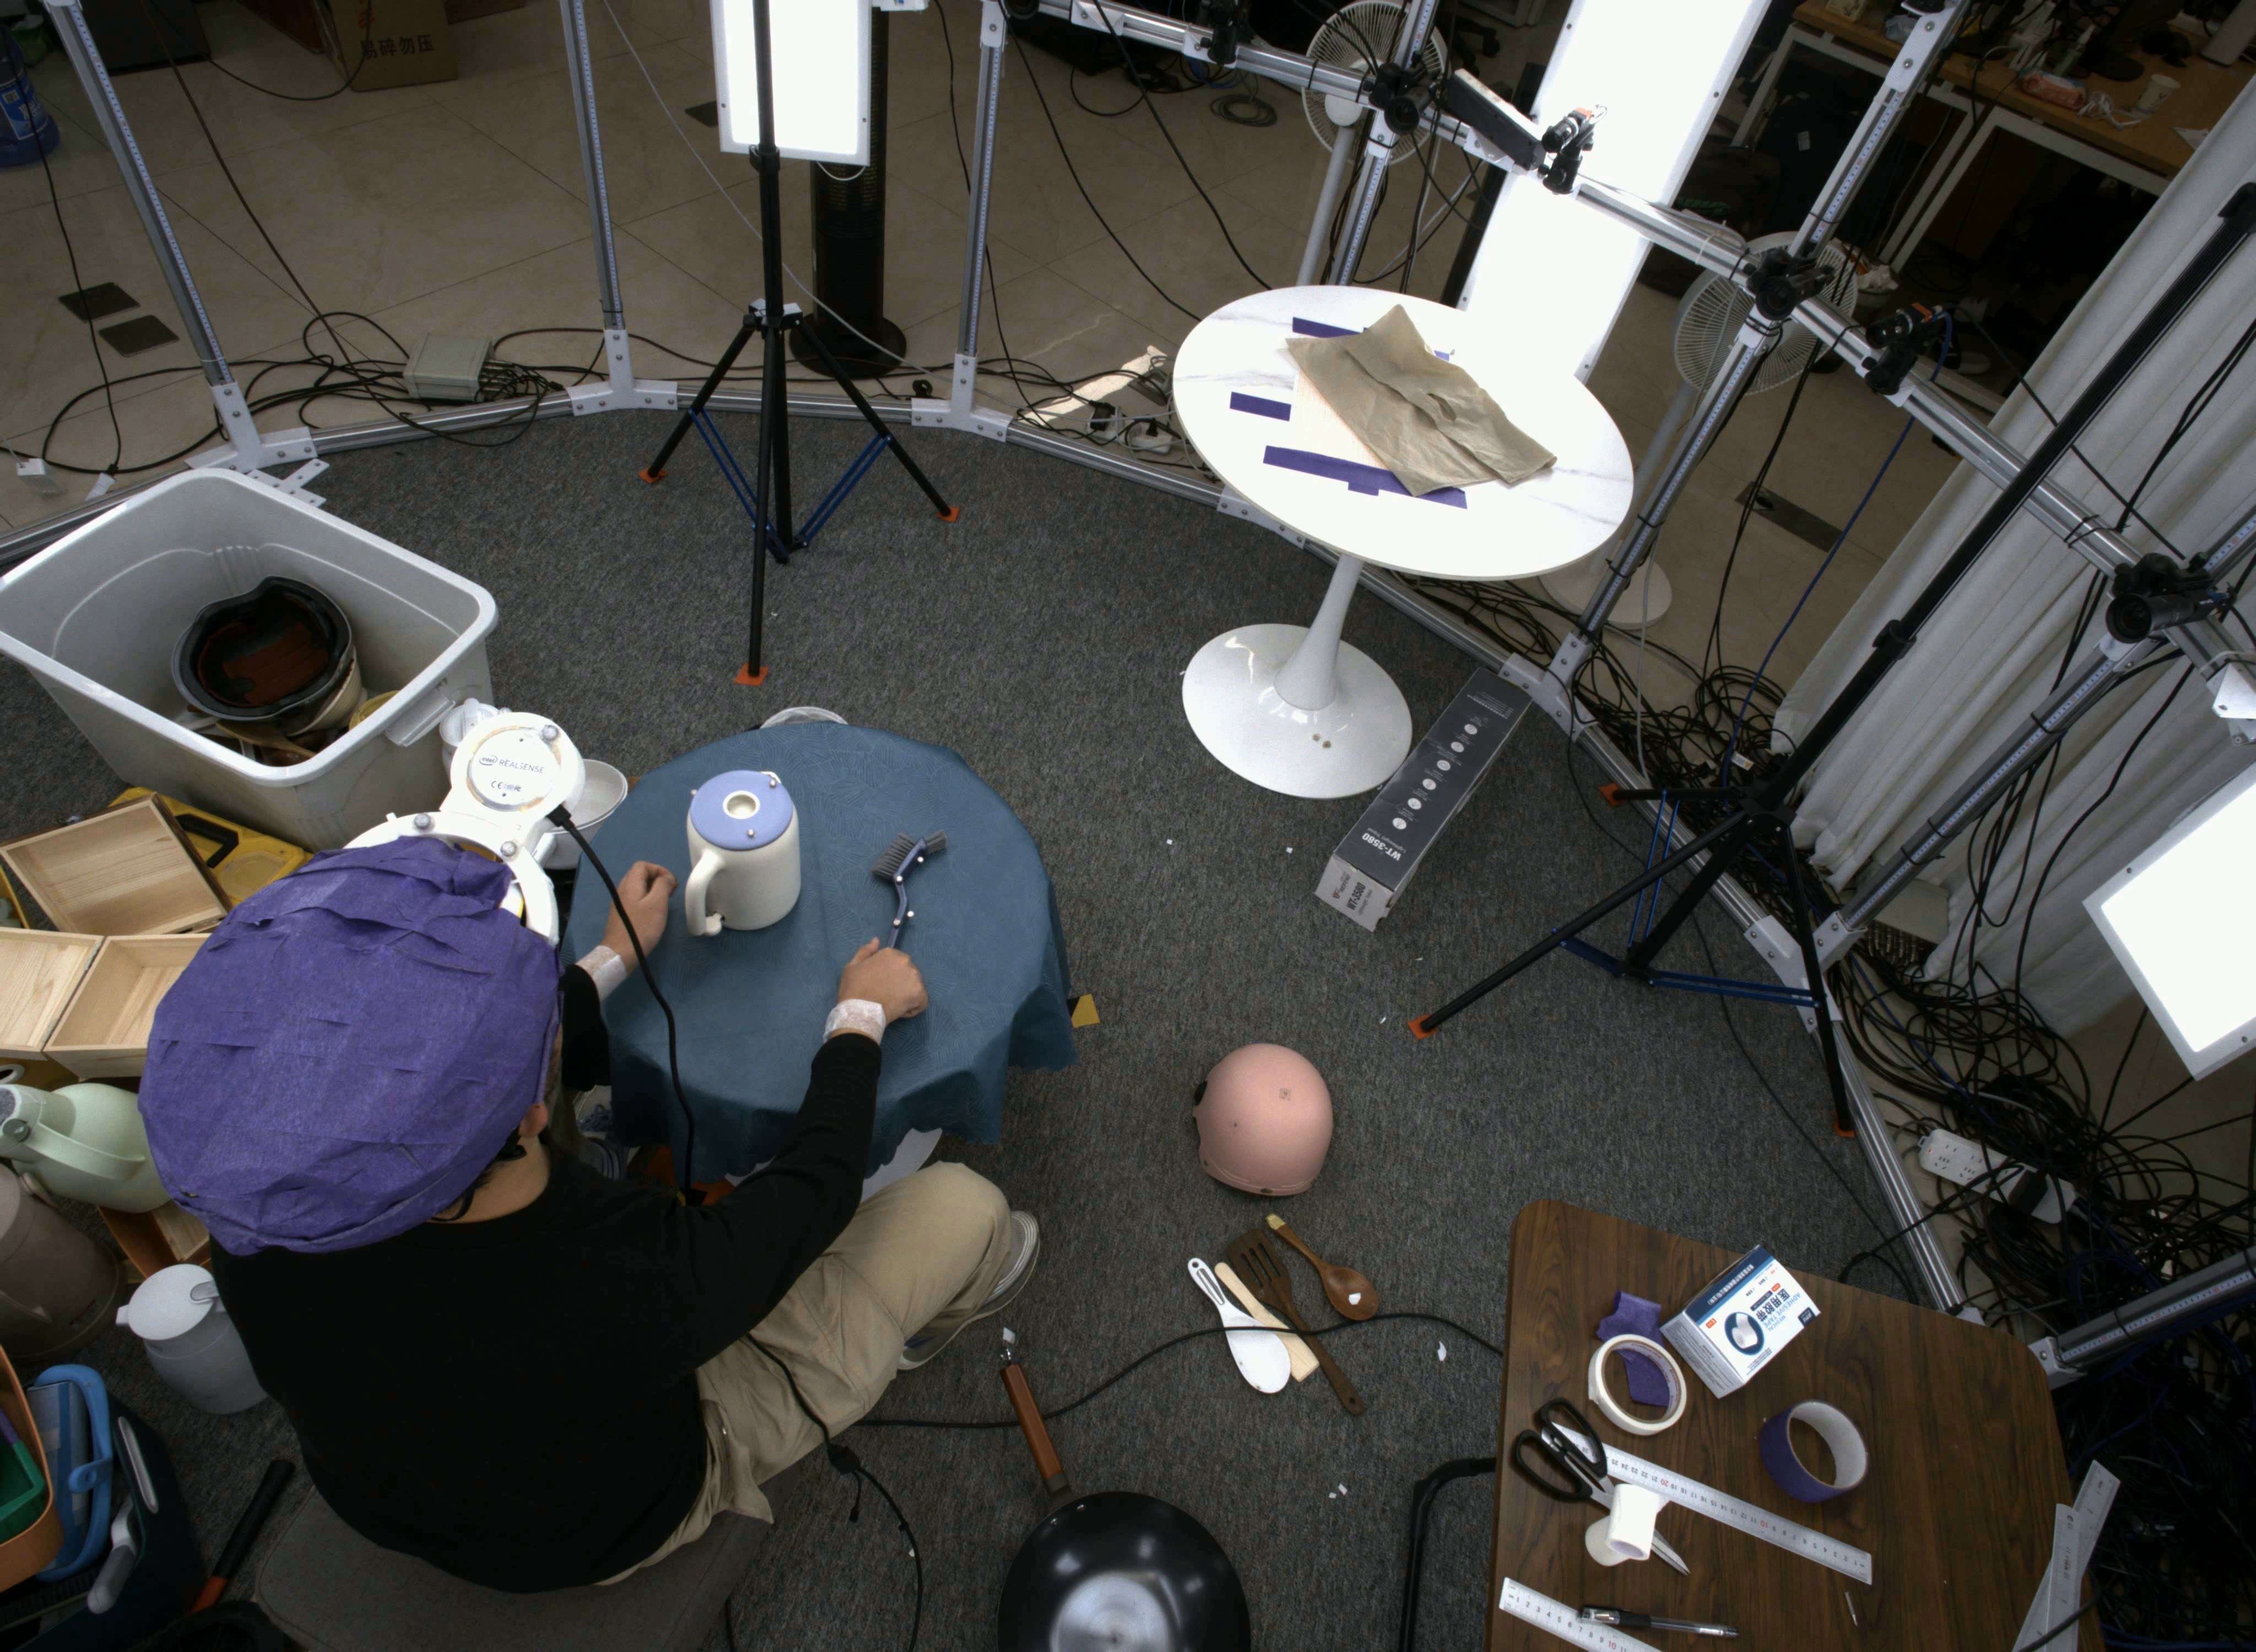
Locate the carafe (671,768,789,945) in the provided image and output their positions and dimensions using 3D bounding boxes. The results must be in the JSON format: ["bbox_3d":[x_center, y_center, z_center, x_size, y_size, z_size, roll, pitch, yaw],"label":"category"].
[{"bbox_3d":[-0.491,0.047,1.555,0.130,0.186,0.189,20,52,4],"label":"carafe"}]

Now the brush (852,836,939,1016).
[{"bbox_3d":[-0.298,0.116,1.646,0.096,0.034,0.268,8,52,-11],"label":"brush"}]
